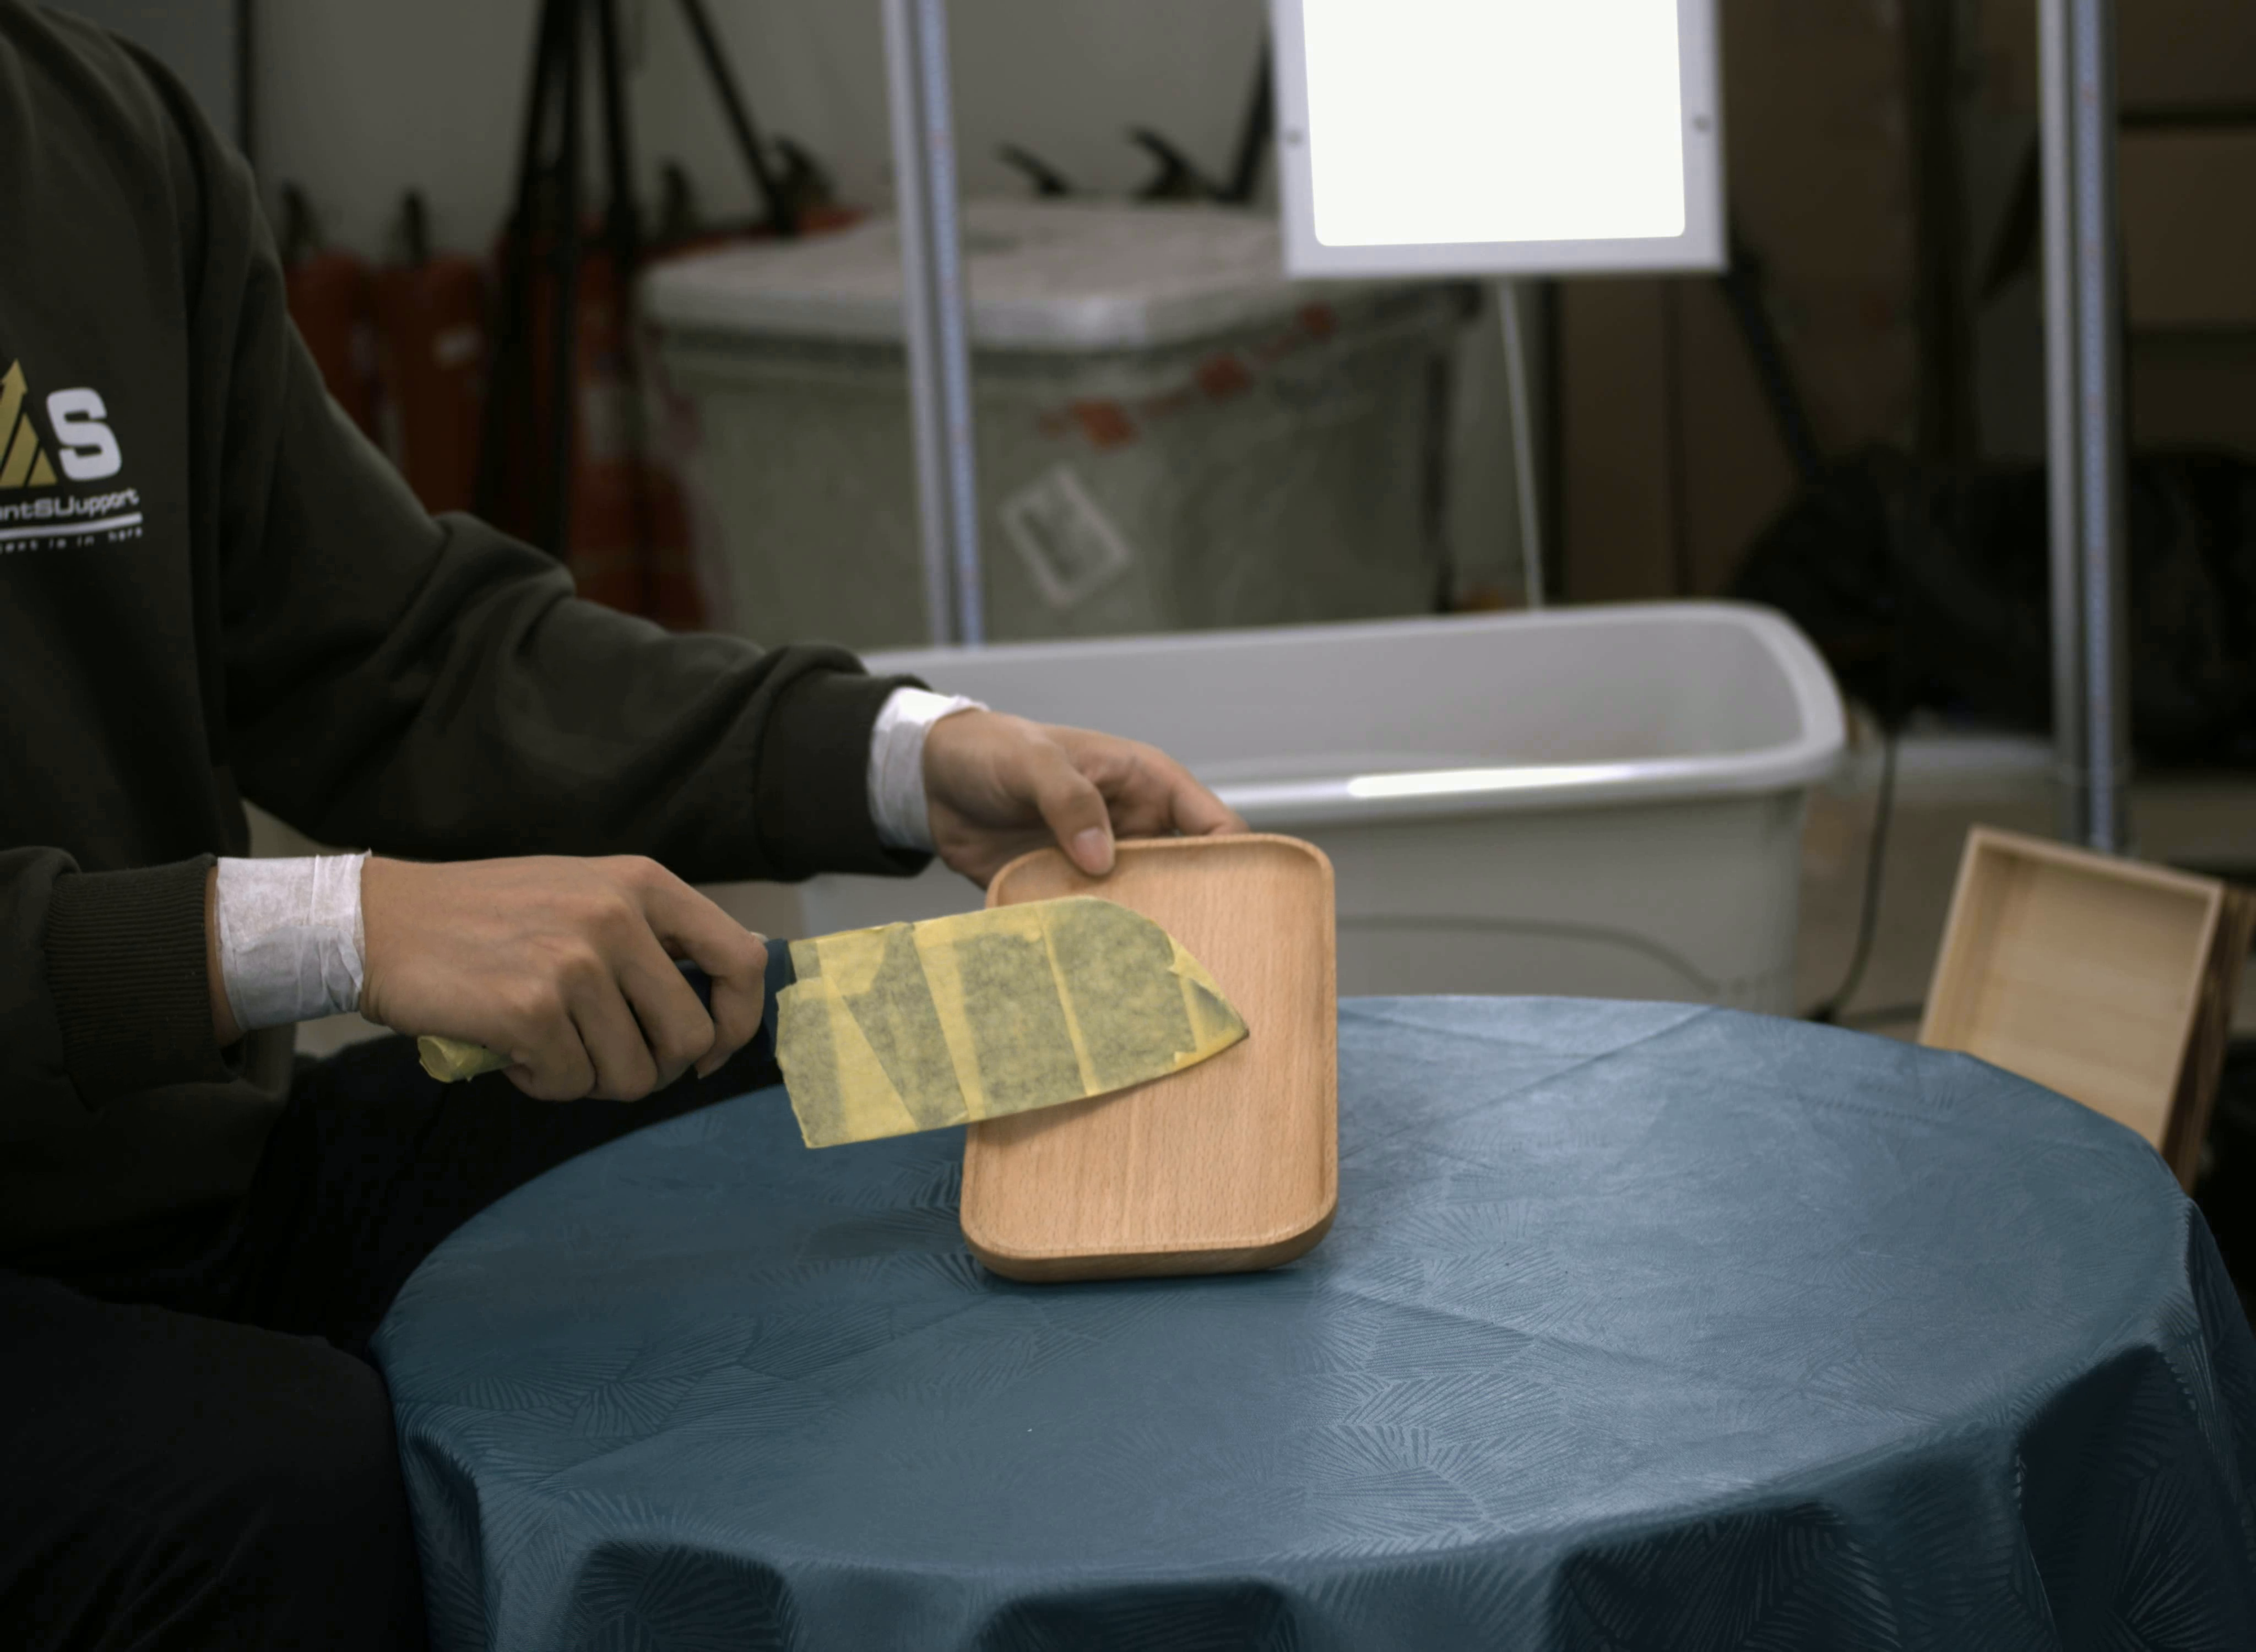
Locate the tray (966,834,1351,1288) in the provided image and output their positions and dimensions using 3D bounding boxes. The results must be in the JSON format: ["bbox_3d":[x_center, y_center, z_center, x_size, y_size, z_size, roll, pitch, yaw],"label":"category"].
[{"bbox_3d":[0.012,0.079,1.905,0.131,0.023,0.249,-7,34,7],"label":"tray"}]

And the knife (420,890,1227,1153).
[{"bbox_3d":[-0.097,0.070,1.858,0.284,0.081,0.027,-7,-20,-21],"label":"knife"}]
